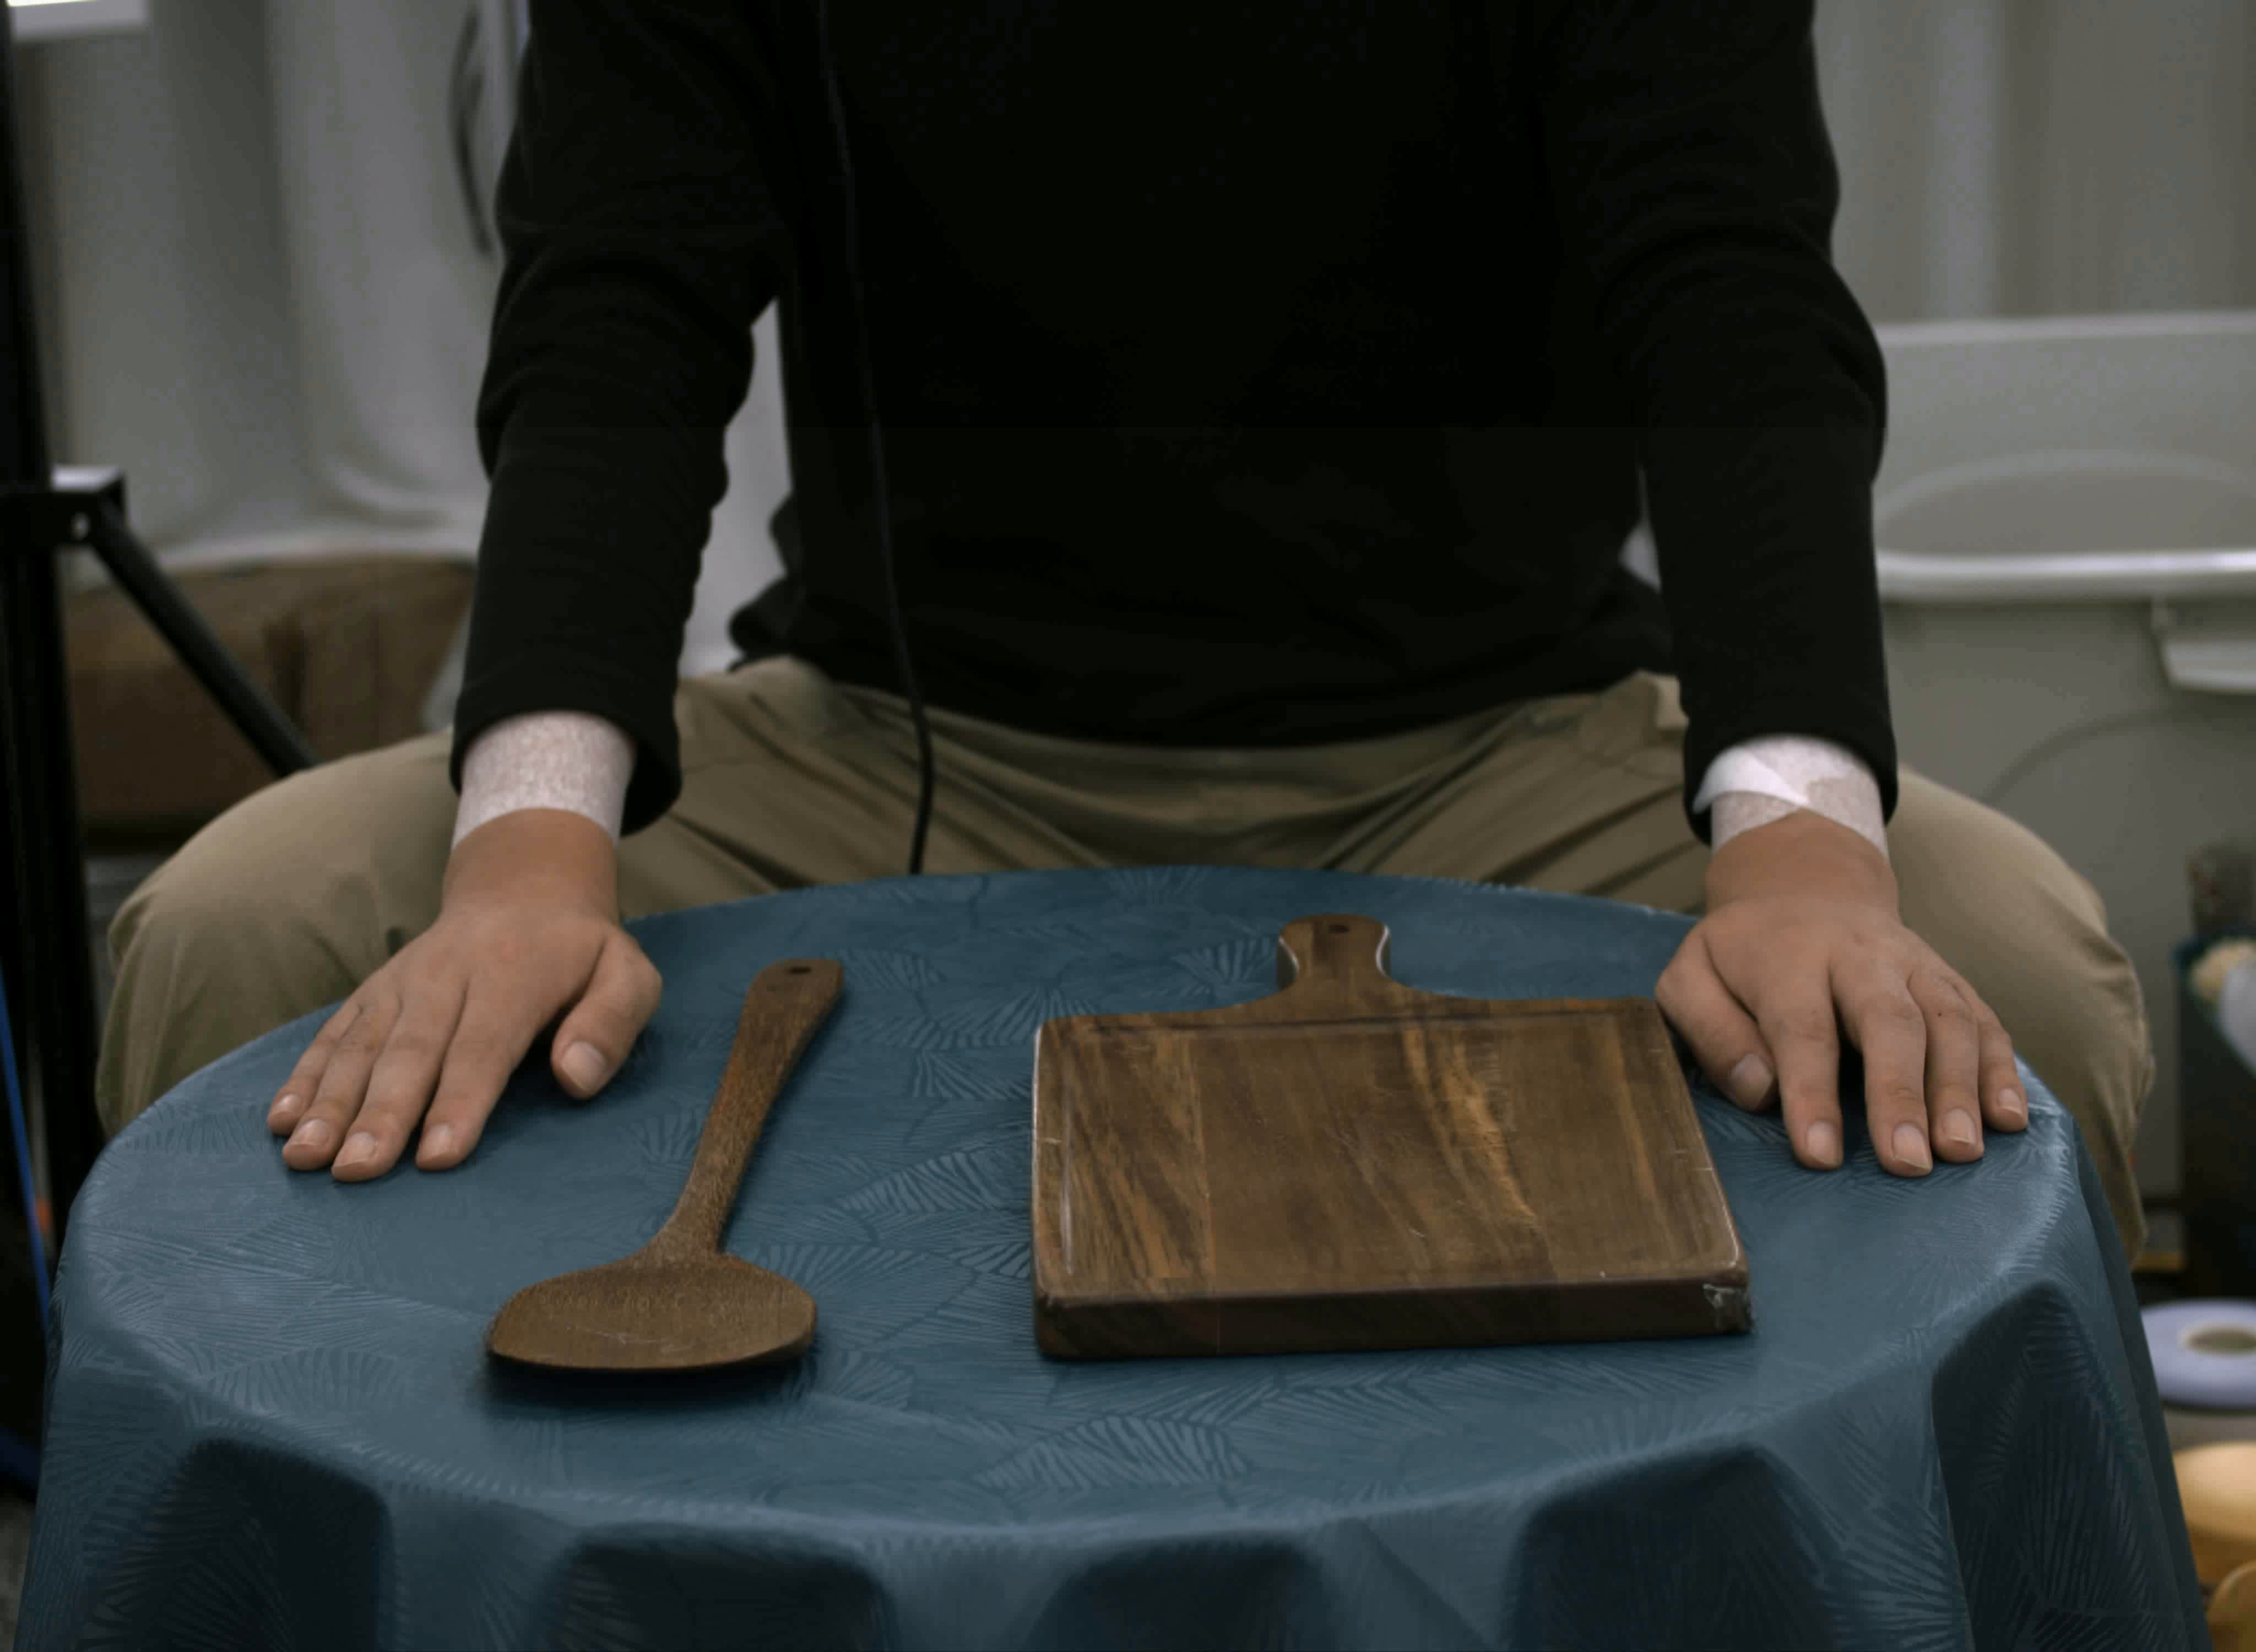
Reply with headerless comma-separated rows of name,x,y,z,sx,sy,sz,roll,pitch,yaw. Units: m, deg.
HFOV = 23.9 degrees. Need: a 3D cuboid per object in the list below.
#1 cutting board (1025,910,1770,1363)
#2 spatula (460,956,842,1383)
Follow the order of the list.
cutting board,0.070,0.085,1.588,0.200,0.023,0.354,-2,16,0
spatula,-0.121,0.096,1.593,0.096,0.016,0.386,-1,16,4
